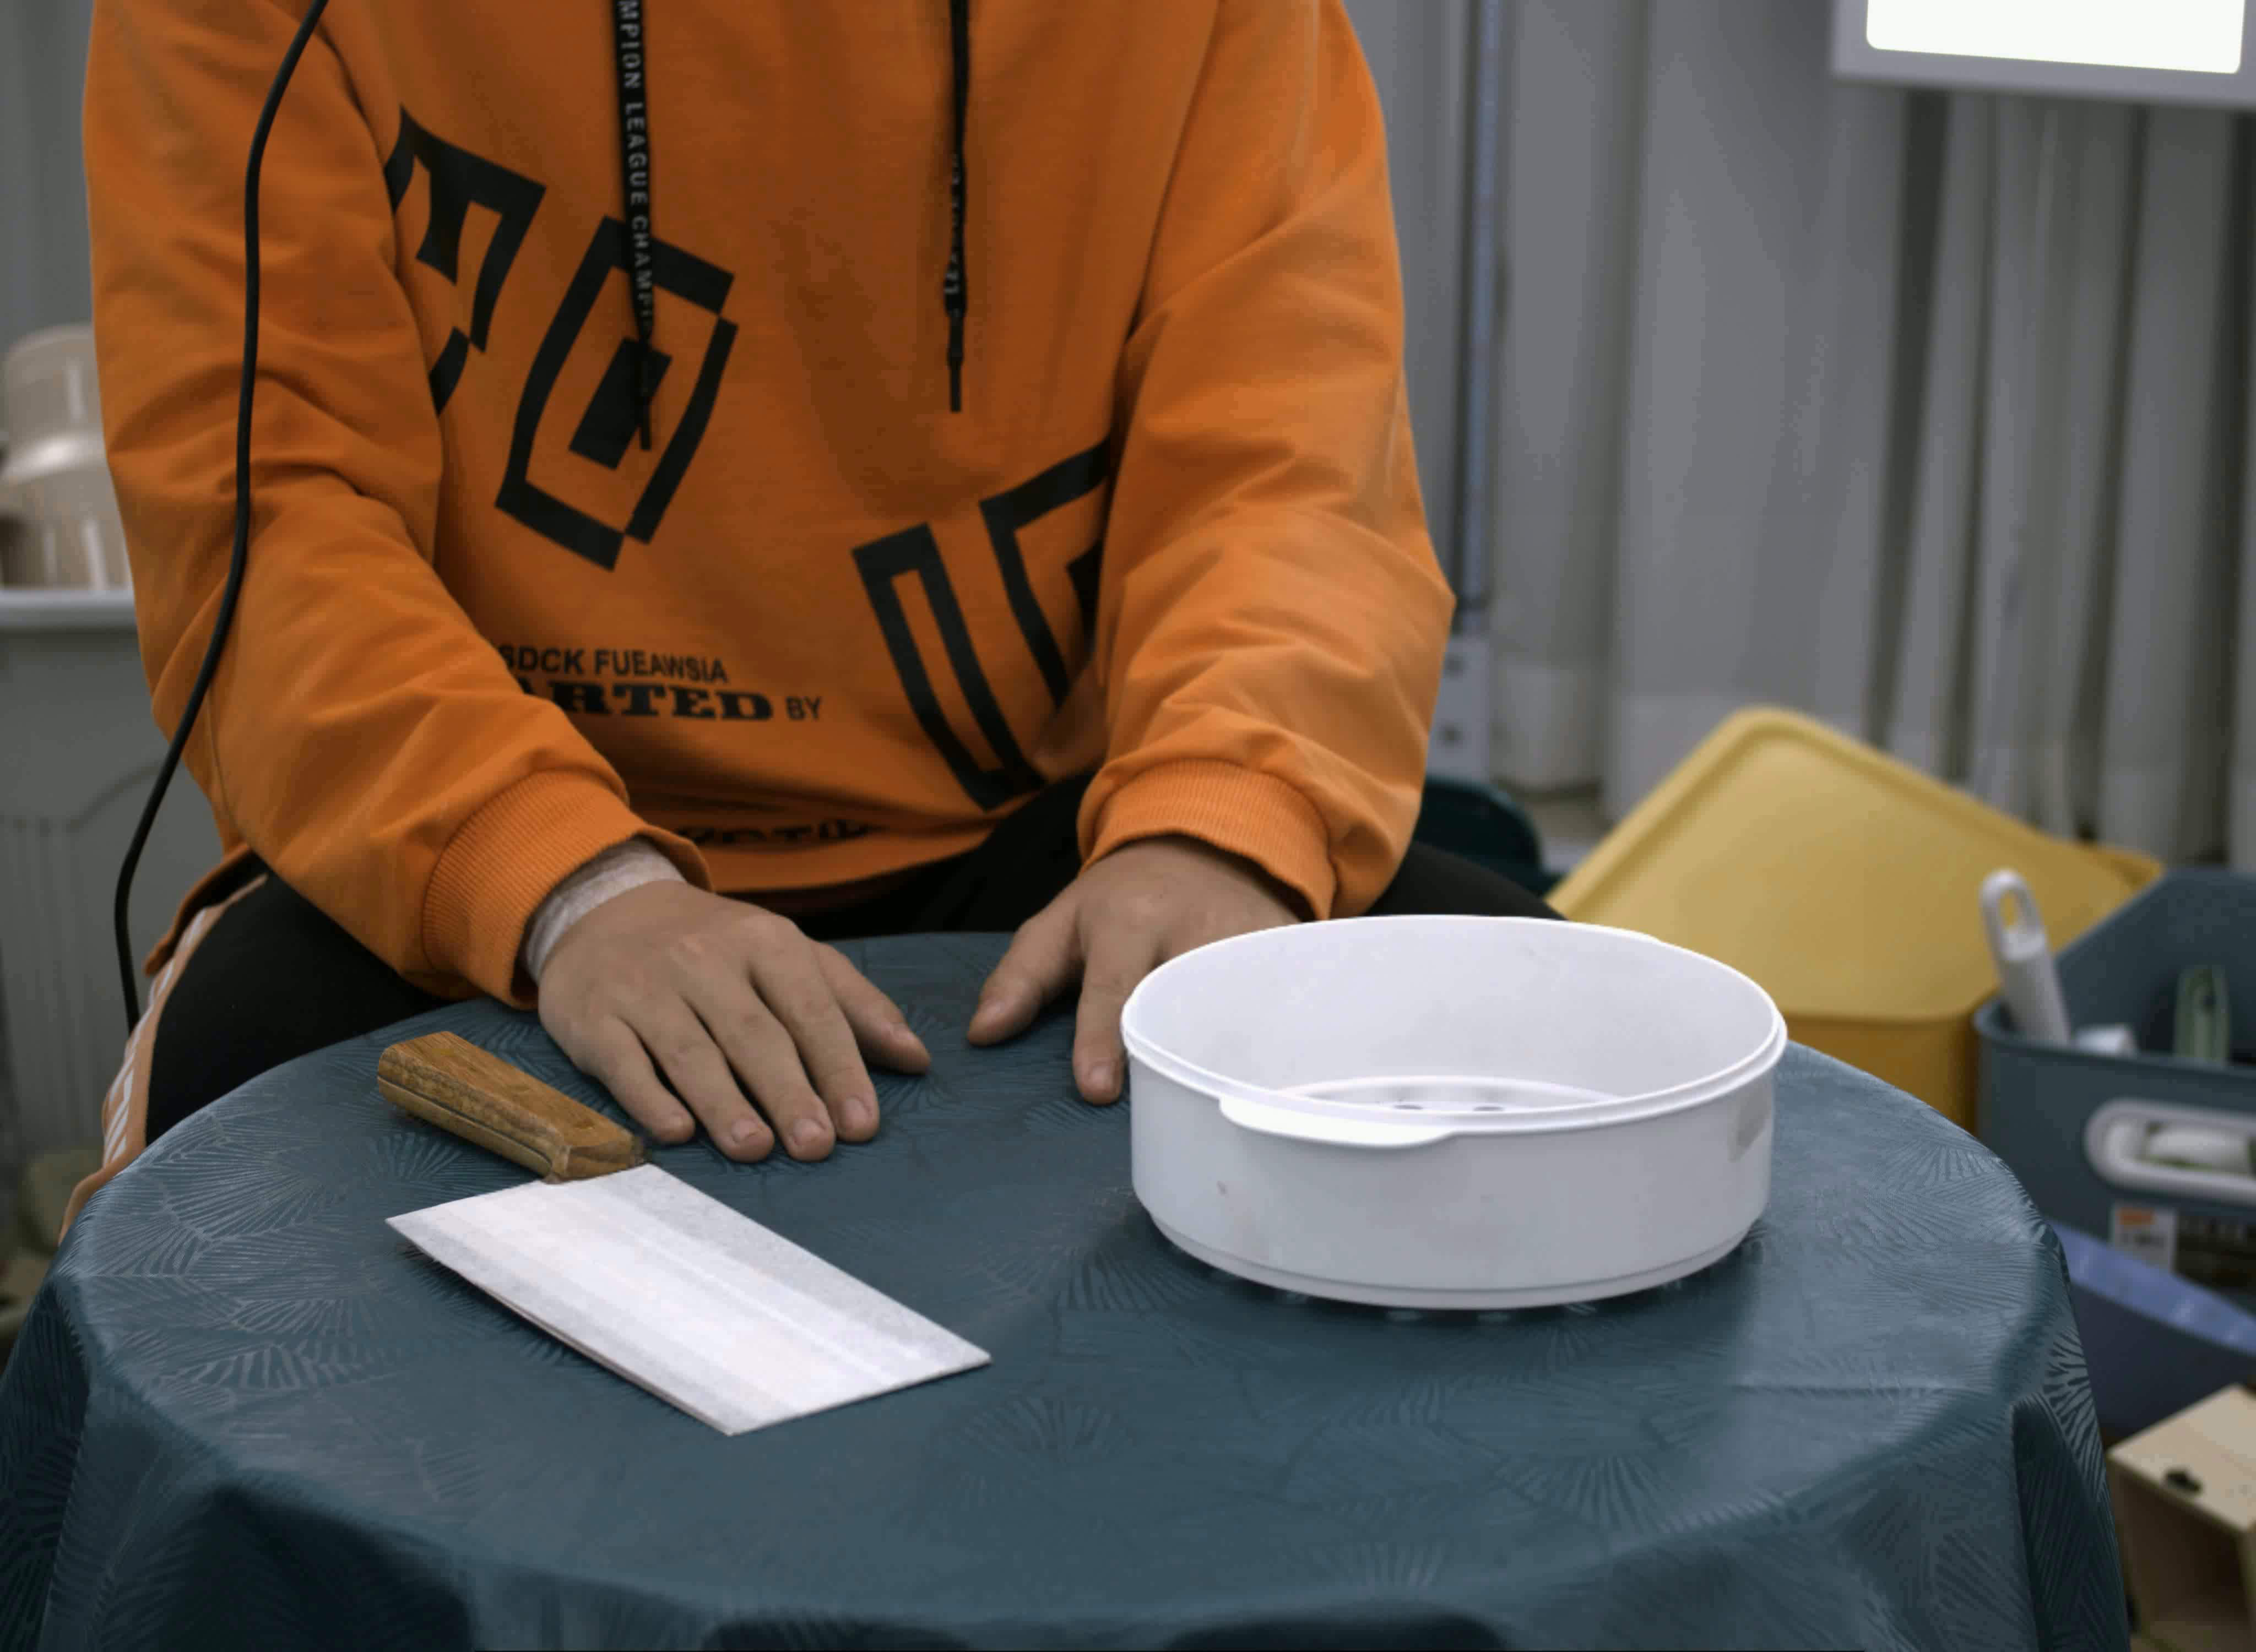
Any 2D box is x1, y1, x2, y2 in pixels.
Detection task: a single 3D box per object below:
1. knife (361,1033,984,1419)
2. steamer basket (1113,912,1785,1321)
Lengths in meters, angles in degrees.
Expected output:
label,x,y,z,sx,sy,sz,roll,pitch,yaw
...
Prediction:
label,x,y,z,sx,sy,sz,roll,pitch,yaw
knife,-0.163,0.119,1.566,0.093,0.021,0.301,-13,23,-35
steamer basket,0.096,0.087,1.587,0.200,0.070,0.231,6,19,23
